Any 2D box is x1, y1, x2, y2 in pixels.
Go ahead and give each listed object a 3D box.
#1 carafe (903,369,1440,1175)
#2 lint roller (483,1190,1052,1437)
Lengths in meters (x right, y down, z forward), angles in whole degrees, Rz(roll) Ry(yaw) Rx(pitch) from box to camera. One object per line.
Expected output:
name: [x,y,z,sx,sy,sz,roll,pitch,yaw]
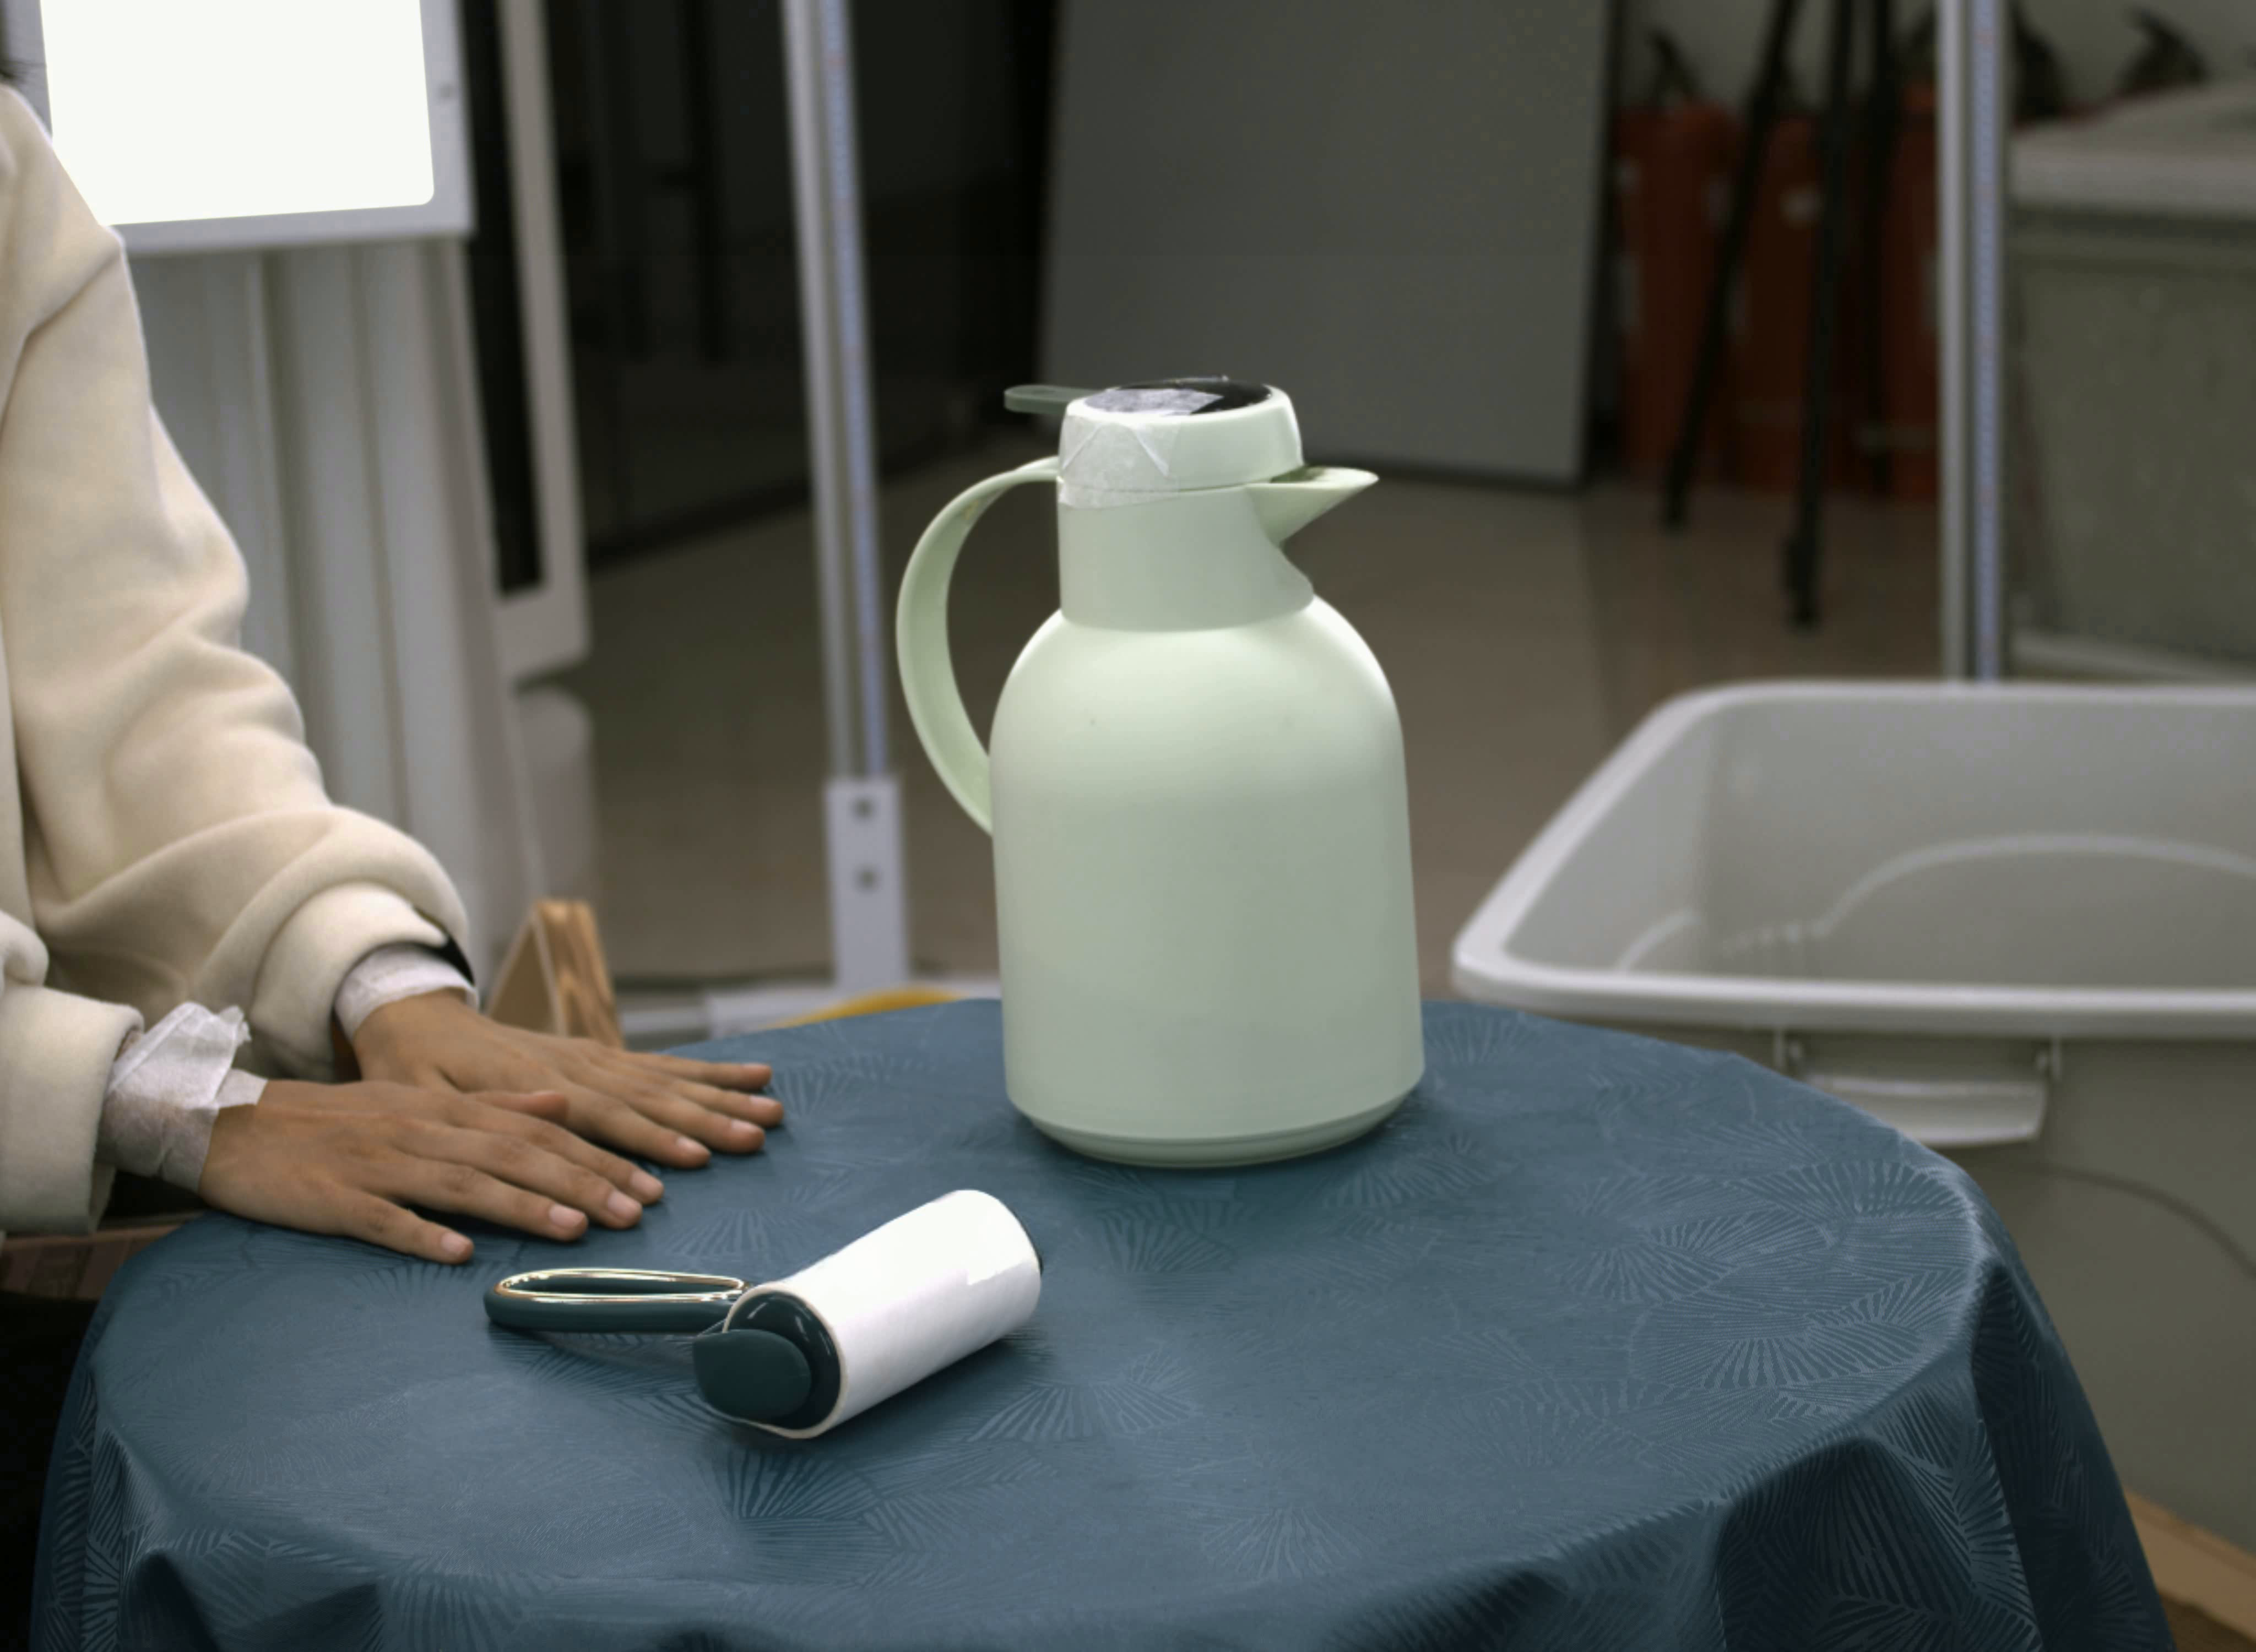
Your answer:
carafe: [0.013,-0.023,1.826,0.188,0.259,0.142,0,15,34]
lint roller: [-0.127,0.138,1.638,0.181,0.049,0.132,6,16,36]
